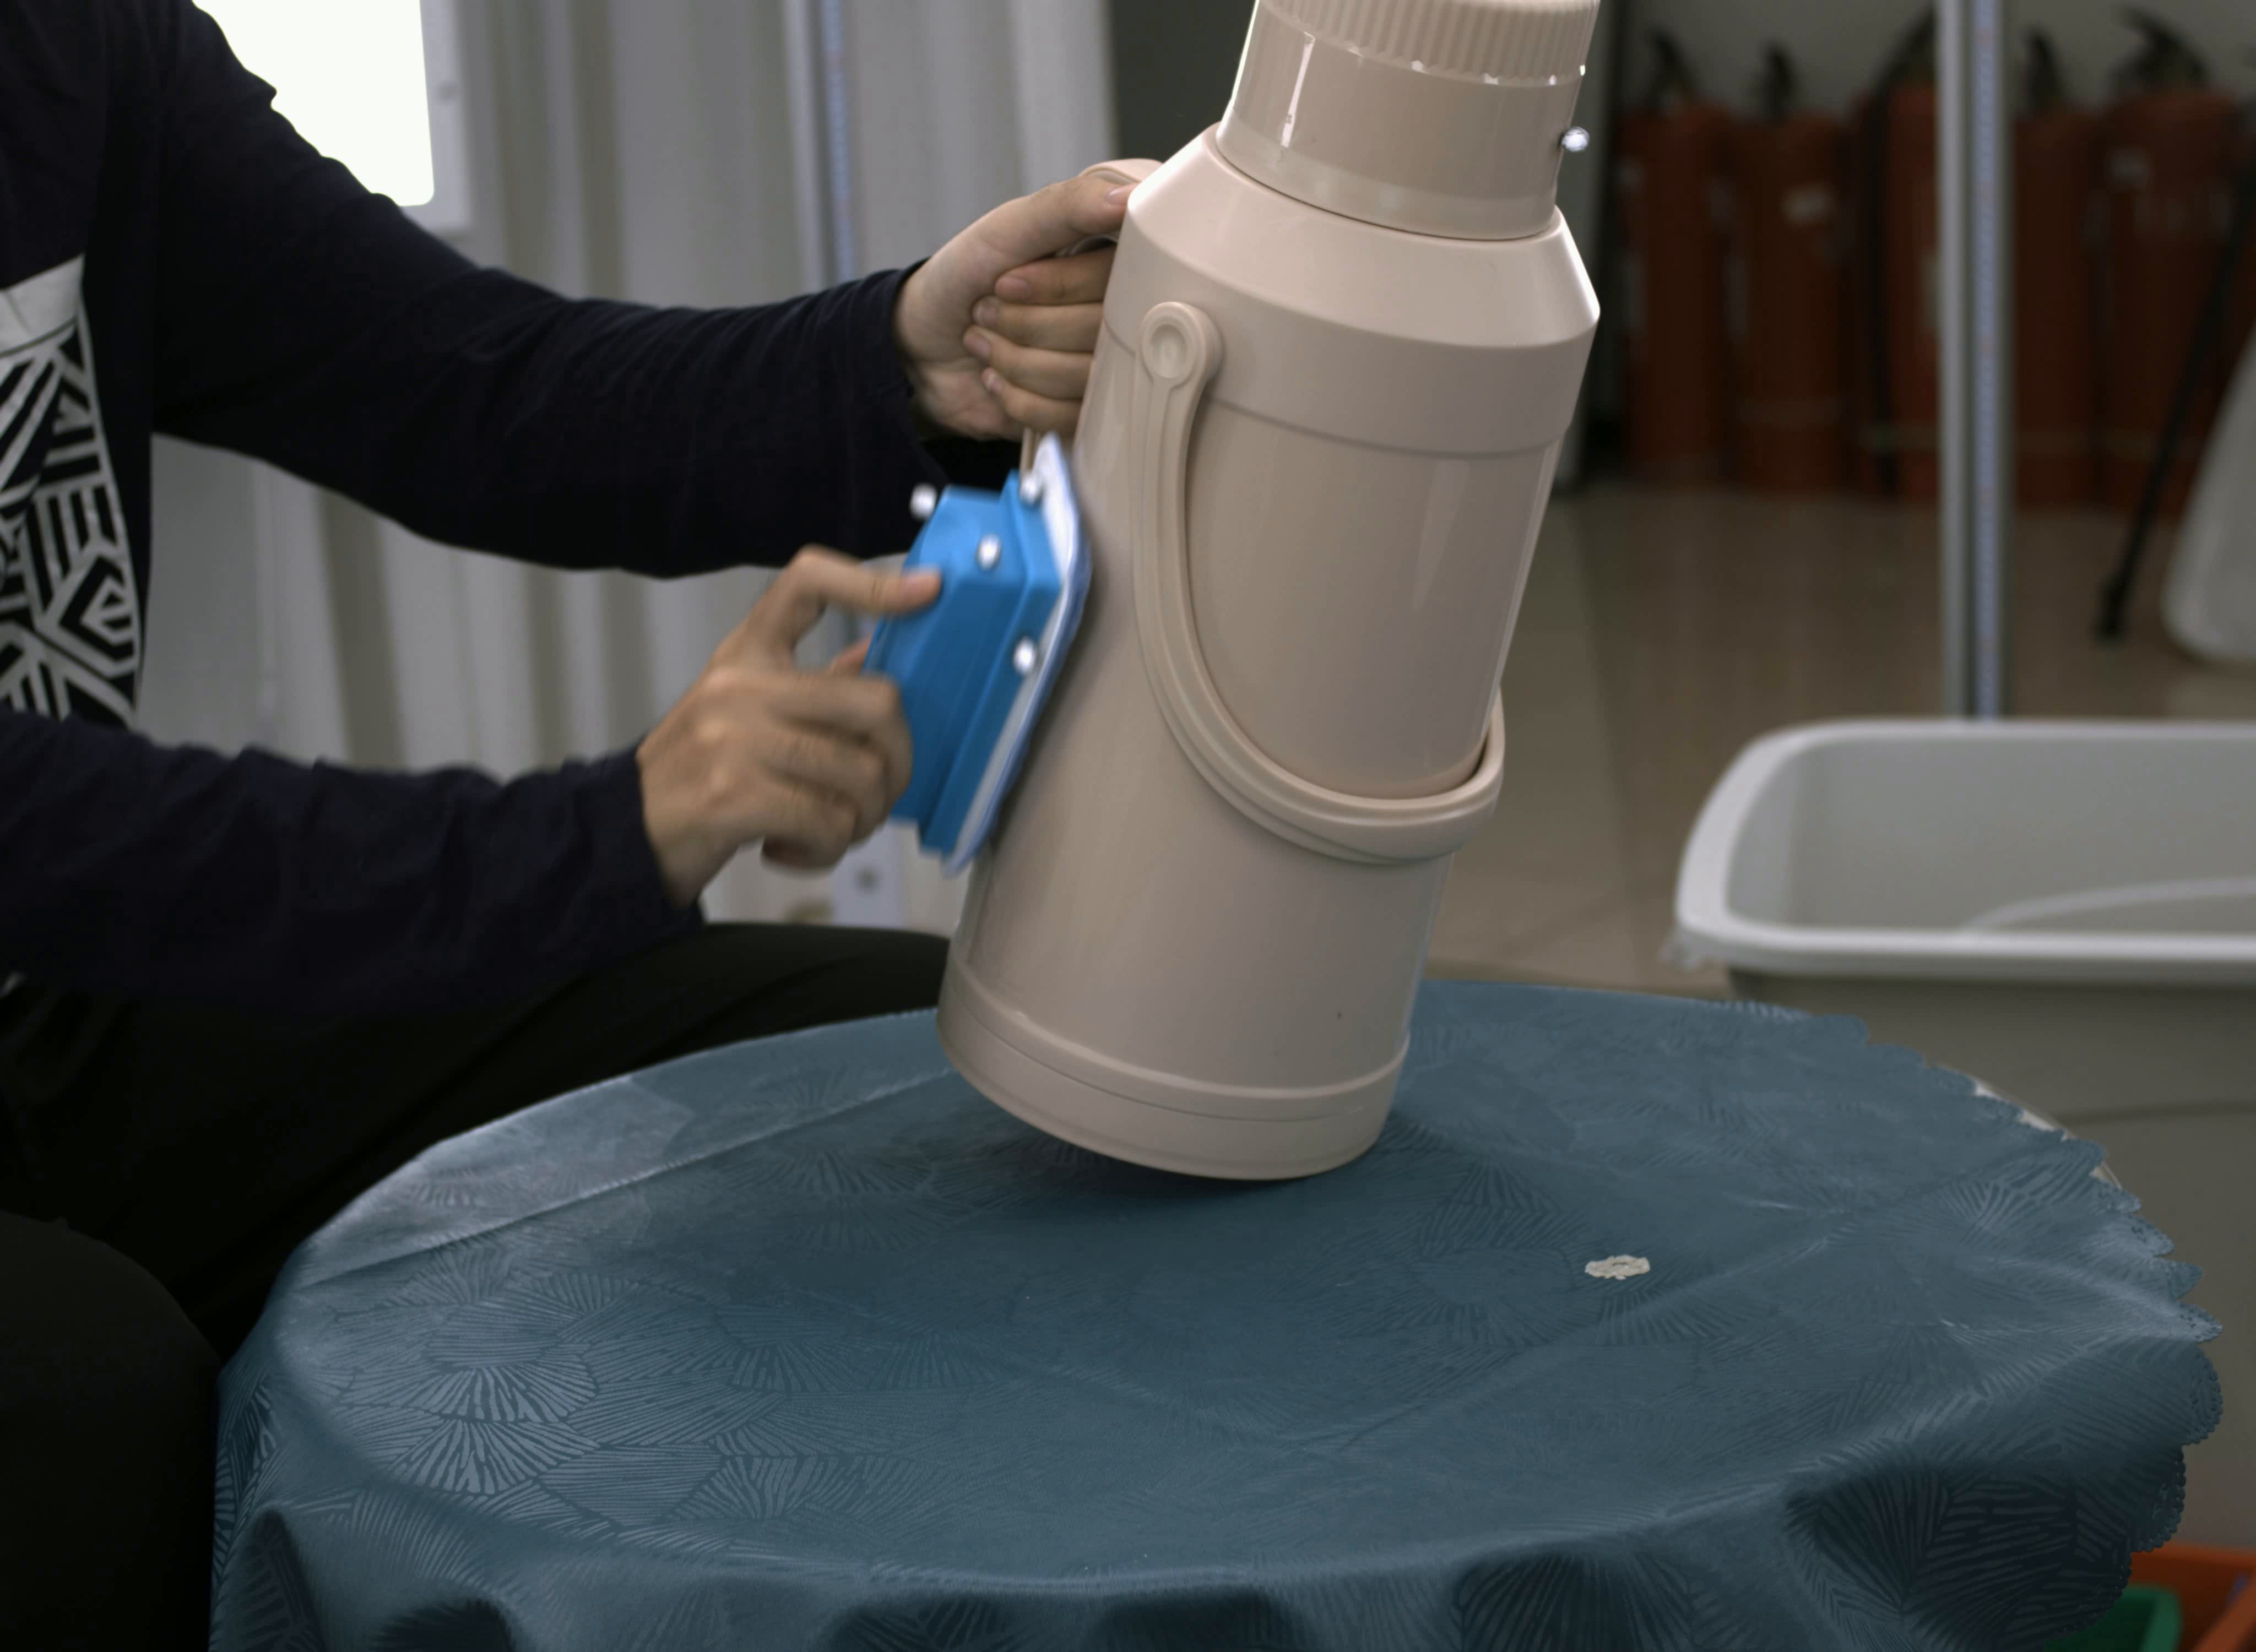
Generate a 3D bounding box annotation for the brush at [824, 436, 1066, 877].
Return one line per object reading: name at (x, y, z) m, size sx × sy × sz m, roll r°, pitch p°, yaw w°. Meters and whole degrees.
brush at (-0.061, -0.058, 1.758) m, size 0.055 × 0.145 × 0.084 m, roll 12°, pitch 40°, yaw -16°

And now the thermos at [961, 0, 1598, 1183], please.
thermos at (0.047, -0.103, 1.764) m, size 0.209 × 0.411 × 0.172 m, roll 28°, pitch 28°, yaw 35°
